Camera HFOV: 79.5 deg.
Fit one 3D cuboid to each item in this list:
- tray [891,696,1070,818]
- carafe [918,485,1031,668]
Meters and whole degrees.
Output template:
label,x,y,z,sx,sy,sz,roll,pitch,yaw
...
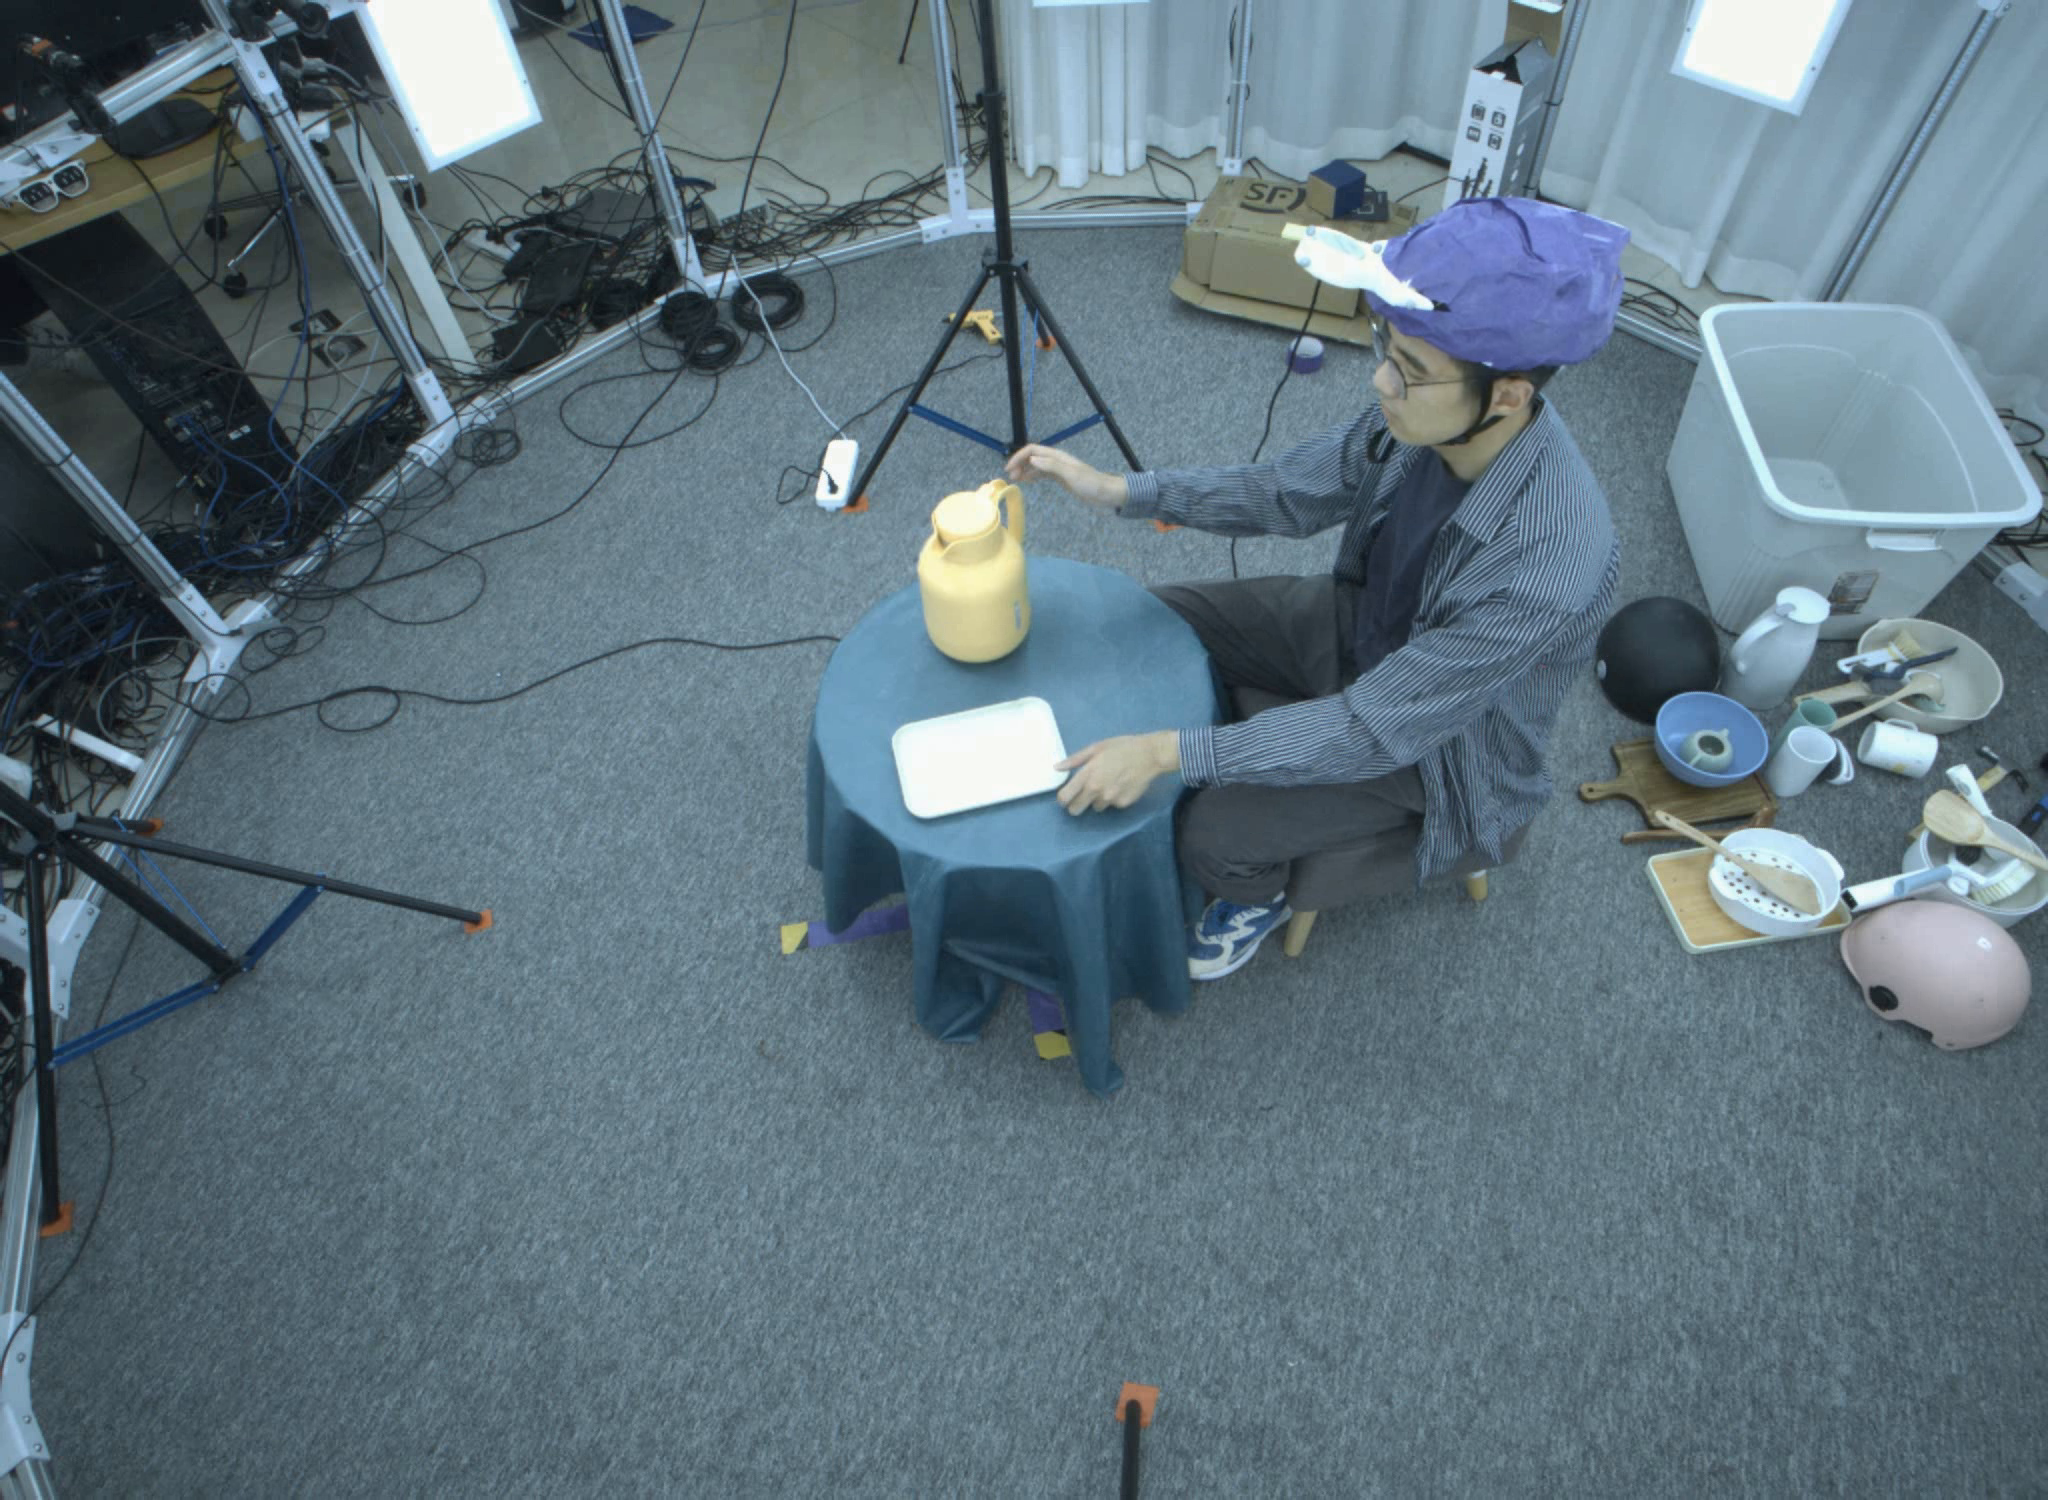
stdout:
label,x,y,z,sx,sy,sz,roll,pitch,yaw
tray,-0.064,0.010,1.776,0.241,0.017,0.168,-12,56,-8
carafe,-0.064,-0.265,1.821,0.161,0.263,0.203,25,60,18
